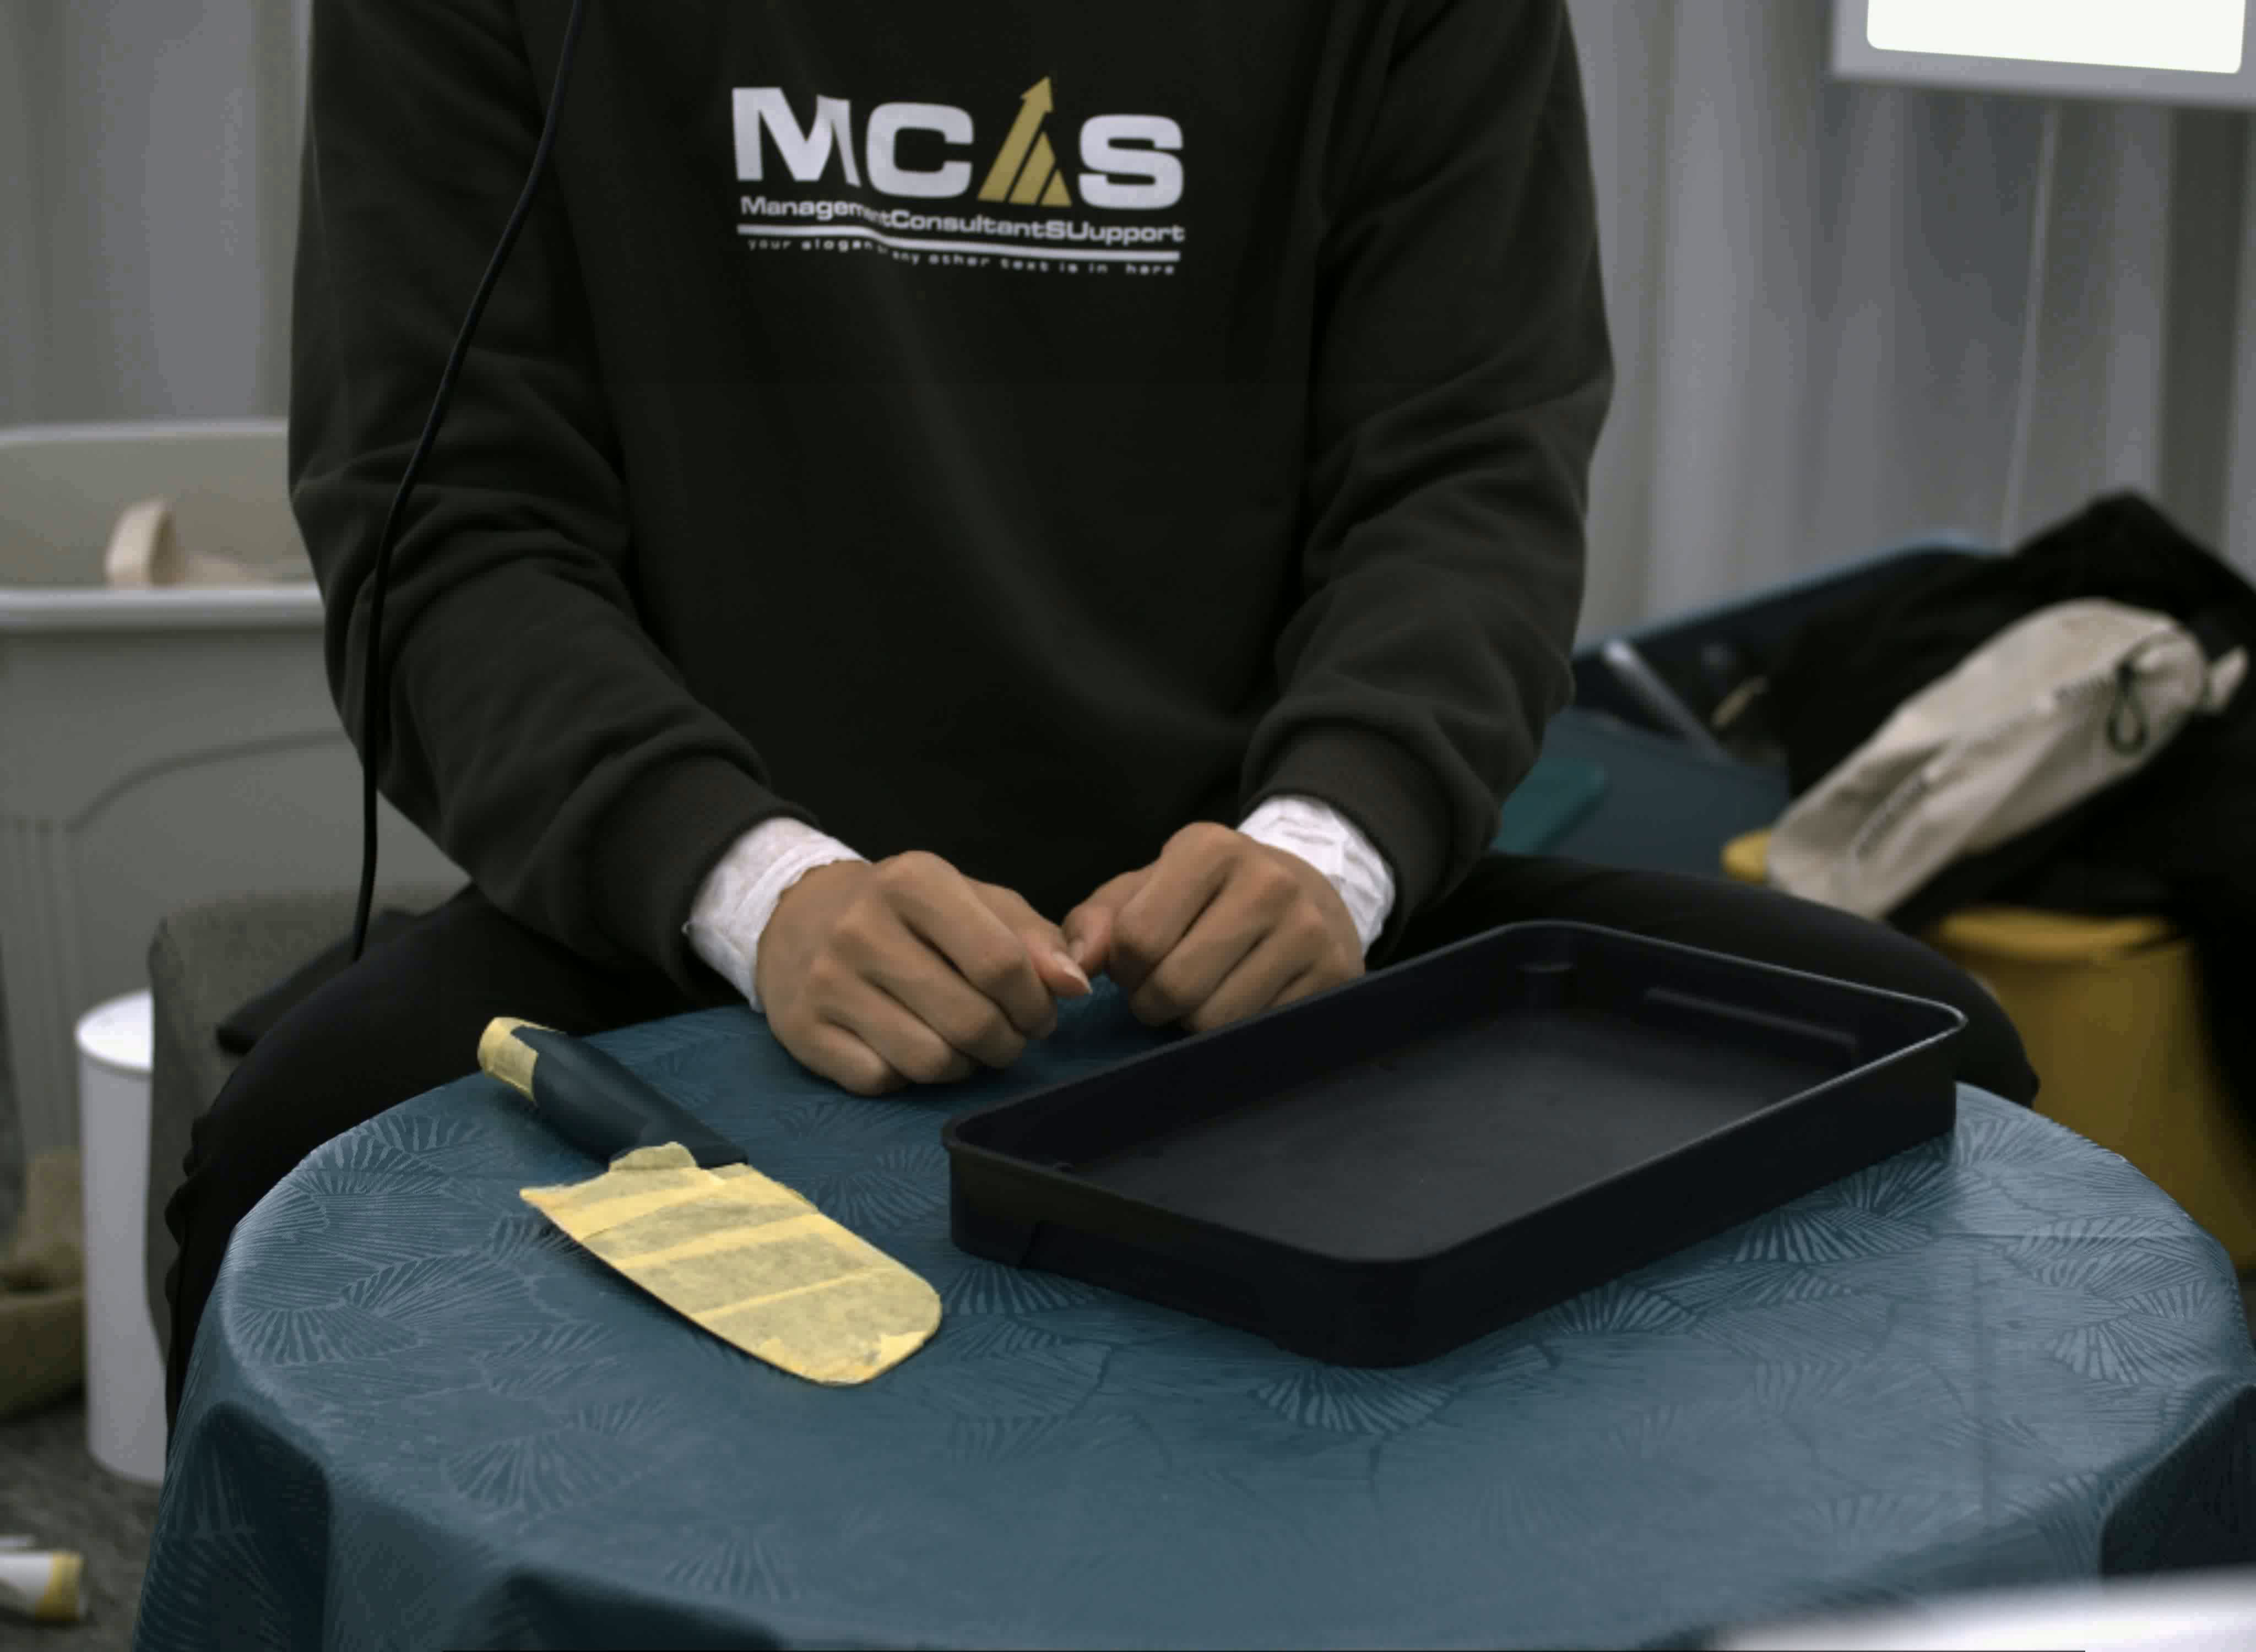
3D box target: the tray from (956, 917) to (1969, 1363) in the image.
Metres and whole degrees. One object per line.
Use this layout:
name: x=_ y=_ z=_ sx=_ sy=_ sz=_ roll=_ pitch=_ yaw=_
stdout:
tray: x=0.110 y=0.091 z=1.639 sx=0.182 sy=0.037 sz=0.319 roll=12 pitch=19 yaw=37

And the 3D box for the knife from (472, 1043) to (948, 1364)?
knife: x=-0.140 y=0.114 z=1.587 sx=0.081 sy=0.027 sz=0.286 roll=-7 pitch=18 yaw=-30
